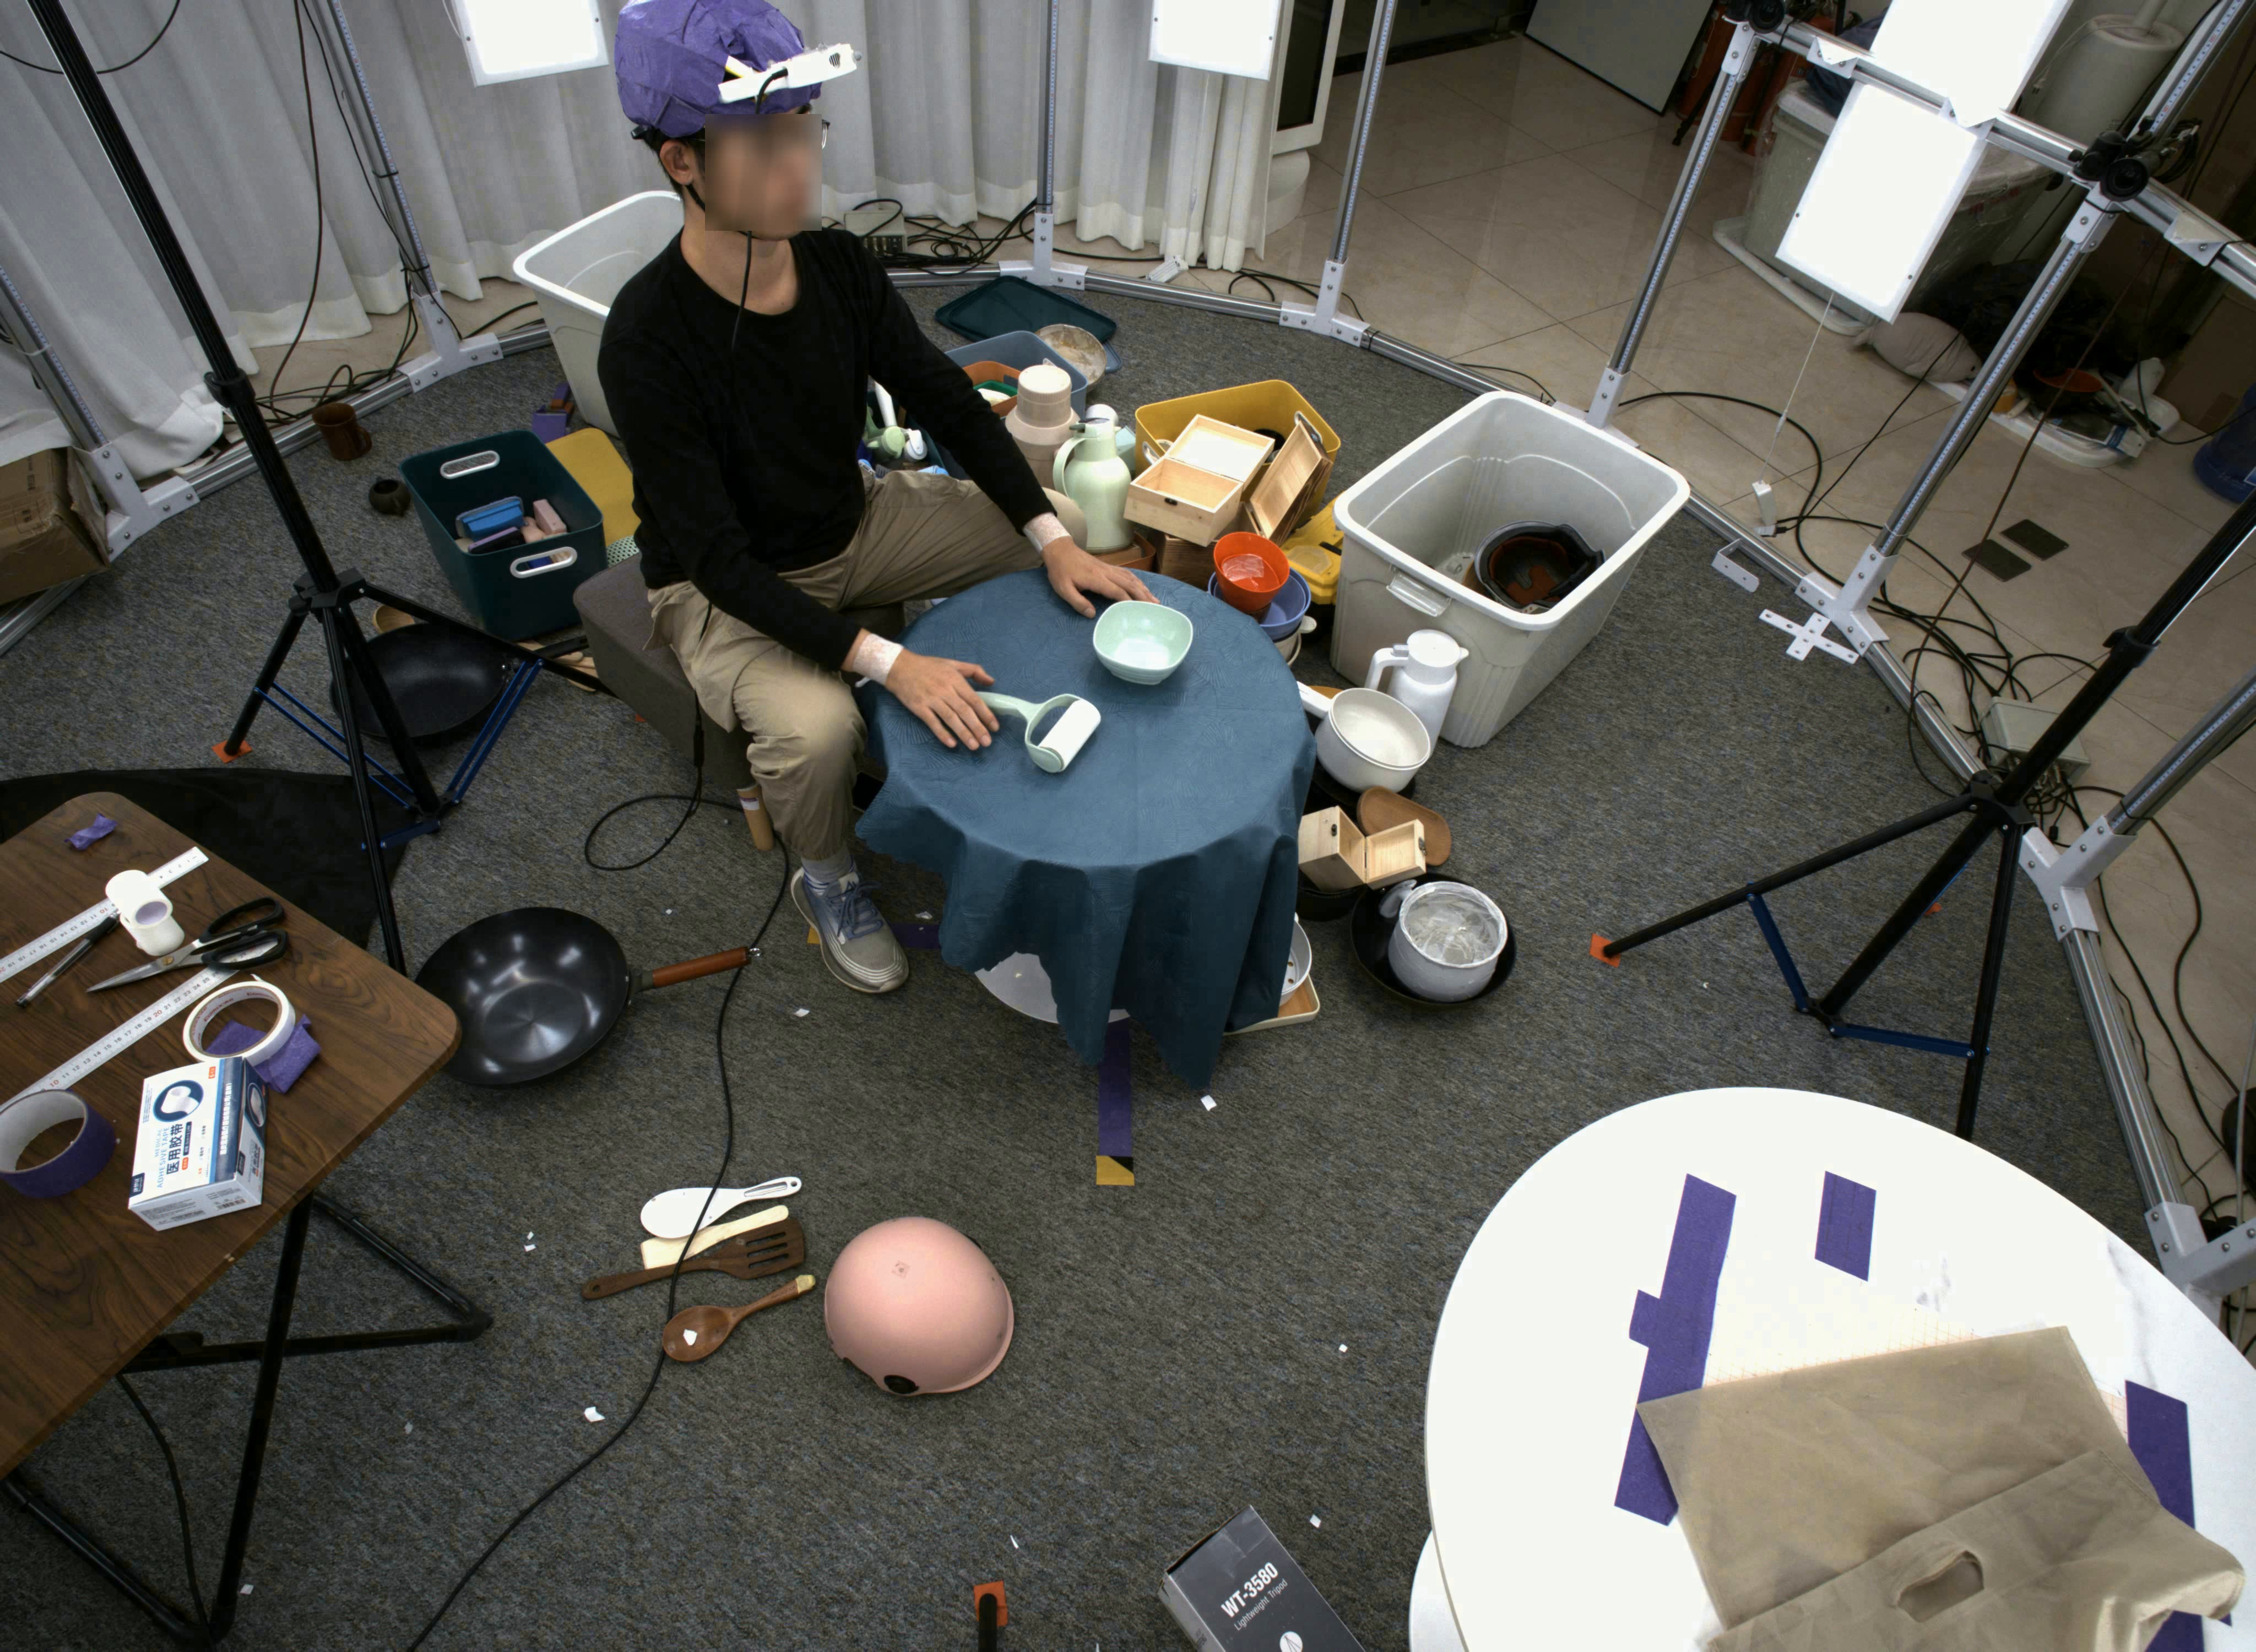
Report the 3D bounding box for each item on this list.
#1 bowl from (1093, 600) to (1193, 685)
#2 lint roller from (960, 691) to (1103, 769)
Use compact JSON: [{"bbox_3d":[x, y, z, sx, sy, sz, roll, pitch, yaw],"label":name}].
[{"bbox_3d":[0.020,-0.257,1.858,0.151,0.057,0.155,2,50,-3],"label":"bowl"},{"bbox_3d":[-0.143,-0.155,1.767,0.199,0.047,0.118,23,53,16],"label":"lint roller"}]
